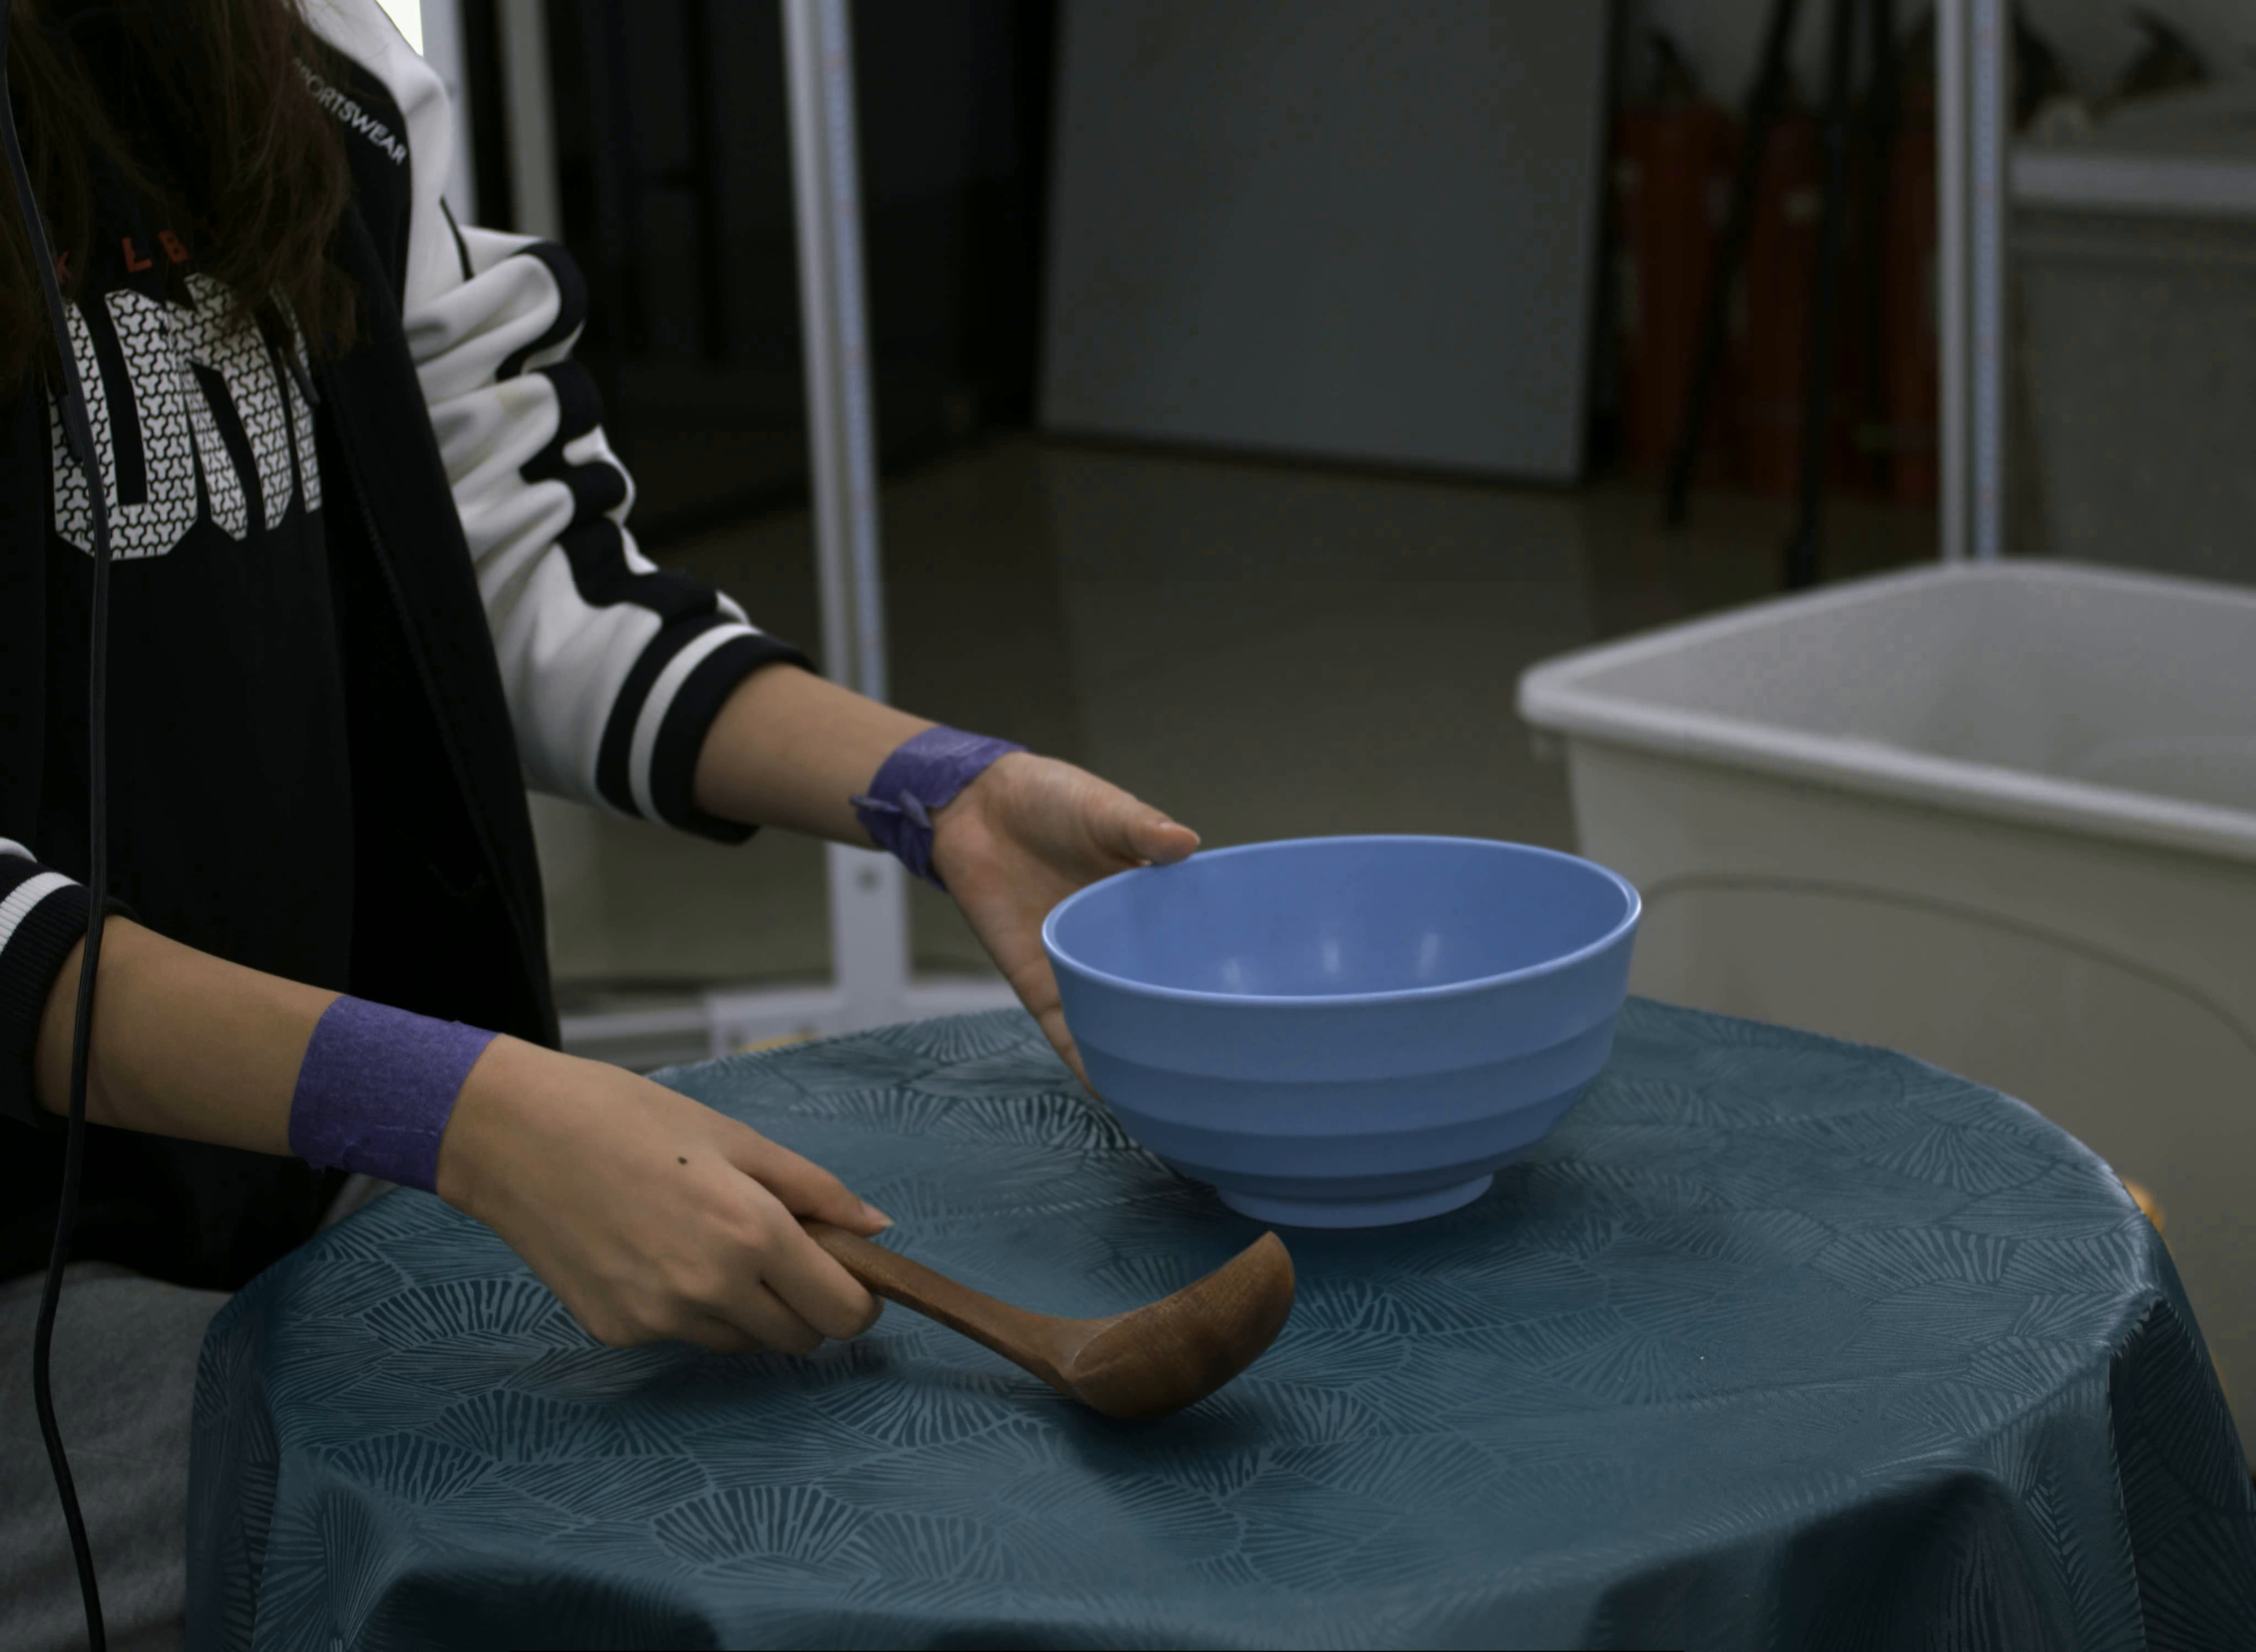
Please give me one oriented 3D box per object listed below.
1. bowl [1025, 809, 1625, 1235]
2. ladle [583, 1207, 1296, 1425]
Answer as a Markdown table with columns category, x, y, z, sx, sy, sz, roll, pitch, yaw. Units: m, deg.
| category | x | y | z | sx | sy | sz | roll | pitch | yaw |
| --- | --- | --- | --- | --- | --- | --- | --- | --- | --- |
| bowl | 0.066 | 0.071 | 1.756 | 0.194 | 0.096 | 0.197 | -4 | 20 | 0 |
| ladle | -0.063 | 0.128 | 1.605 | 0.262 | 0.066 | 0.075 | 11 | 25 | 35 |
